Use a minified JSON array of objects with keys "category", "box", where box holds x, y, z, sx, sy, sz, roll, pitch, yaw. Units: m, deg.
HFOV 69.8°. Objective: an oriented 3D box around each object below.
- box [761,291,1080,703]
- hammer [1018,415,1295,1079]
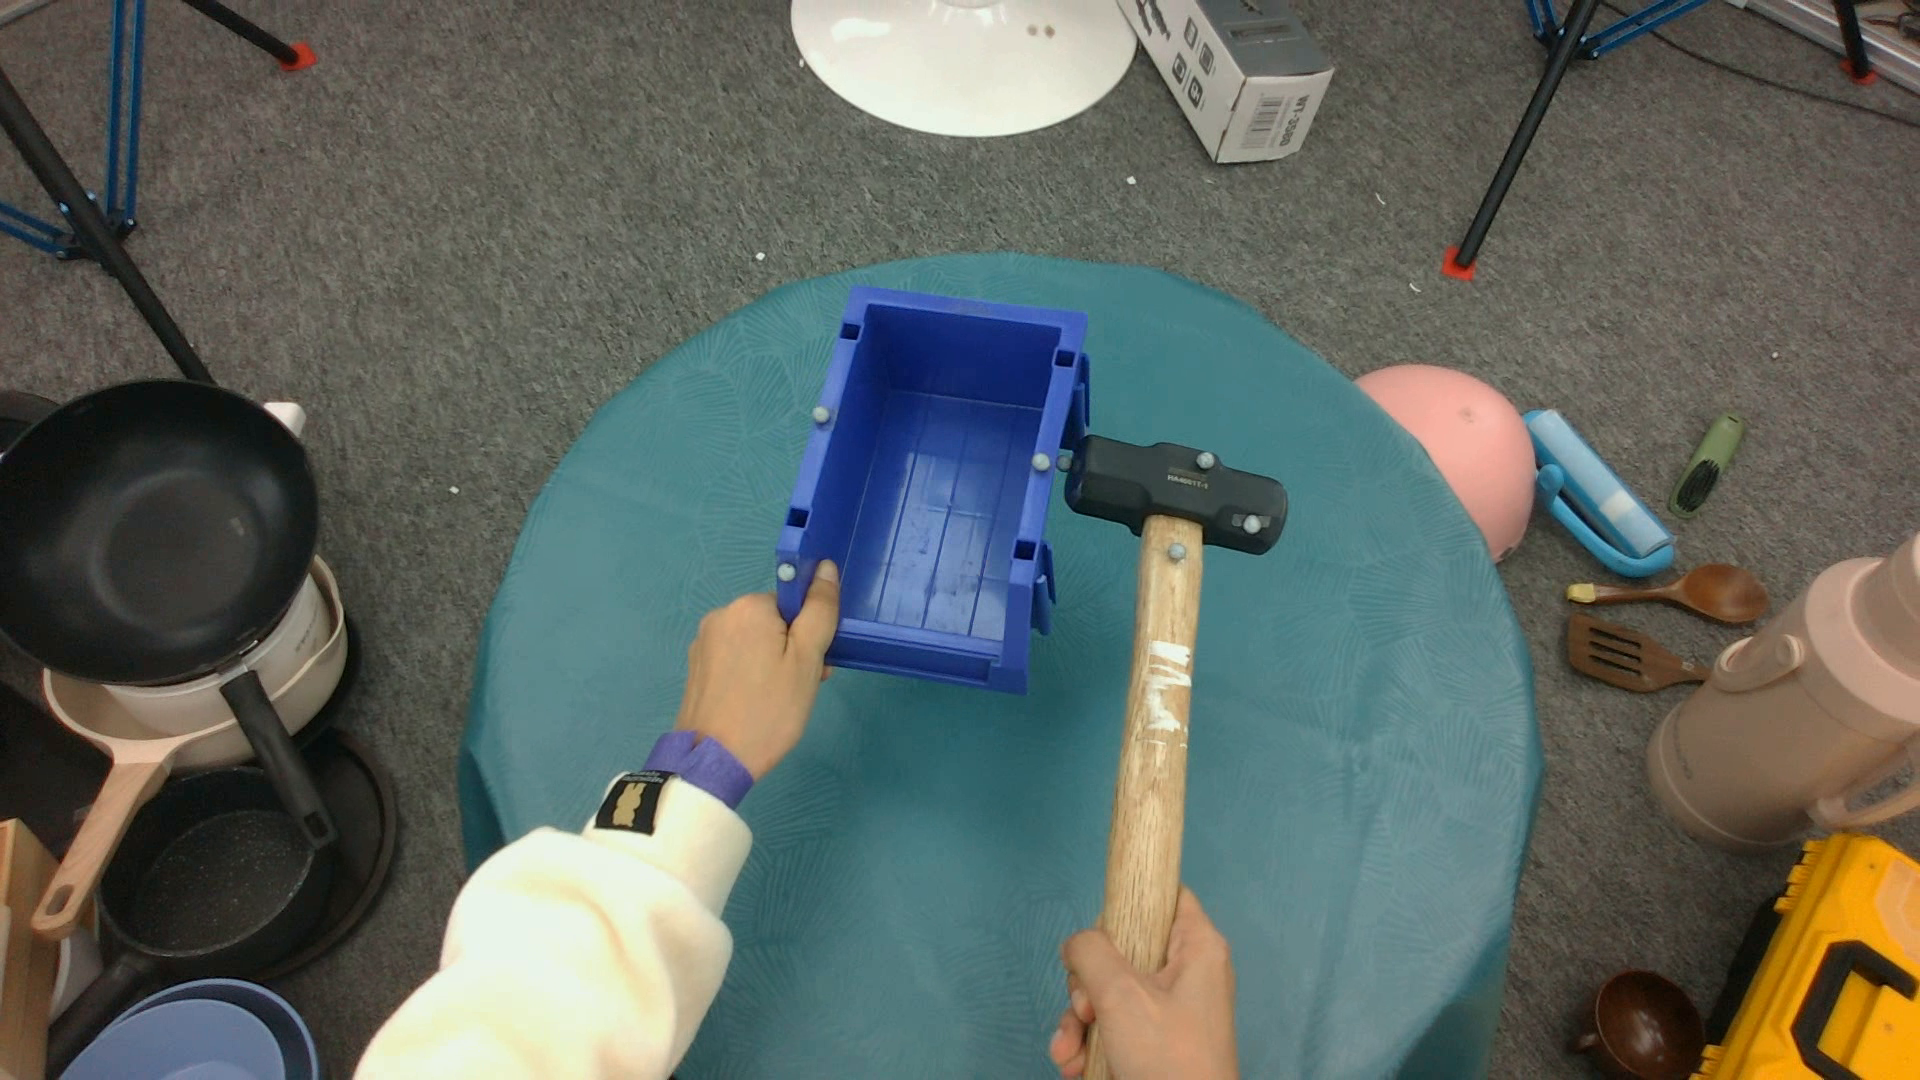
[{"category":"box","box":[-0.015,-0.020,0.671,0.124,0.081,0.180,8,62,9]},{"category":"hammer","box":[0.078,0.086,0.623,0.107,0.038,0.306,18,63,-4]}]
